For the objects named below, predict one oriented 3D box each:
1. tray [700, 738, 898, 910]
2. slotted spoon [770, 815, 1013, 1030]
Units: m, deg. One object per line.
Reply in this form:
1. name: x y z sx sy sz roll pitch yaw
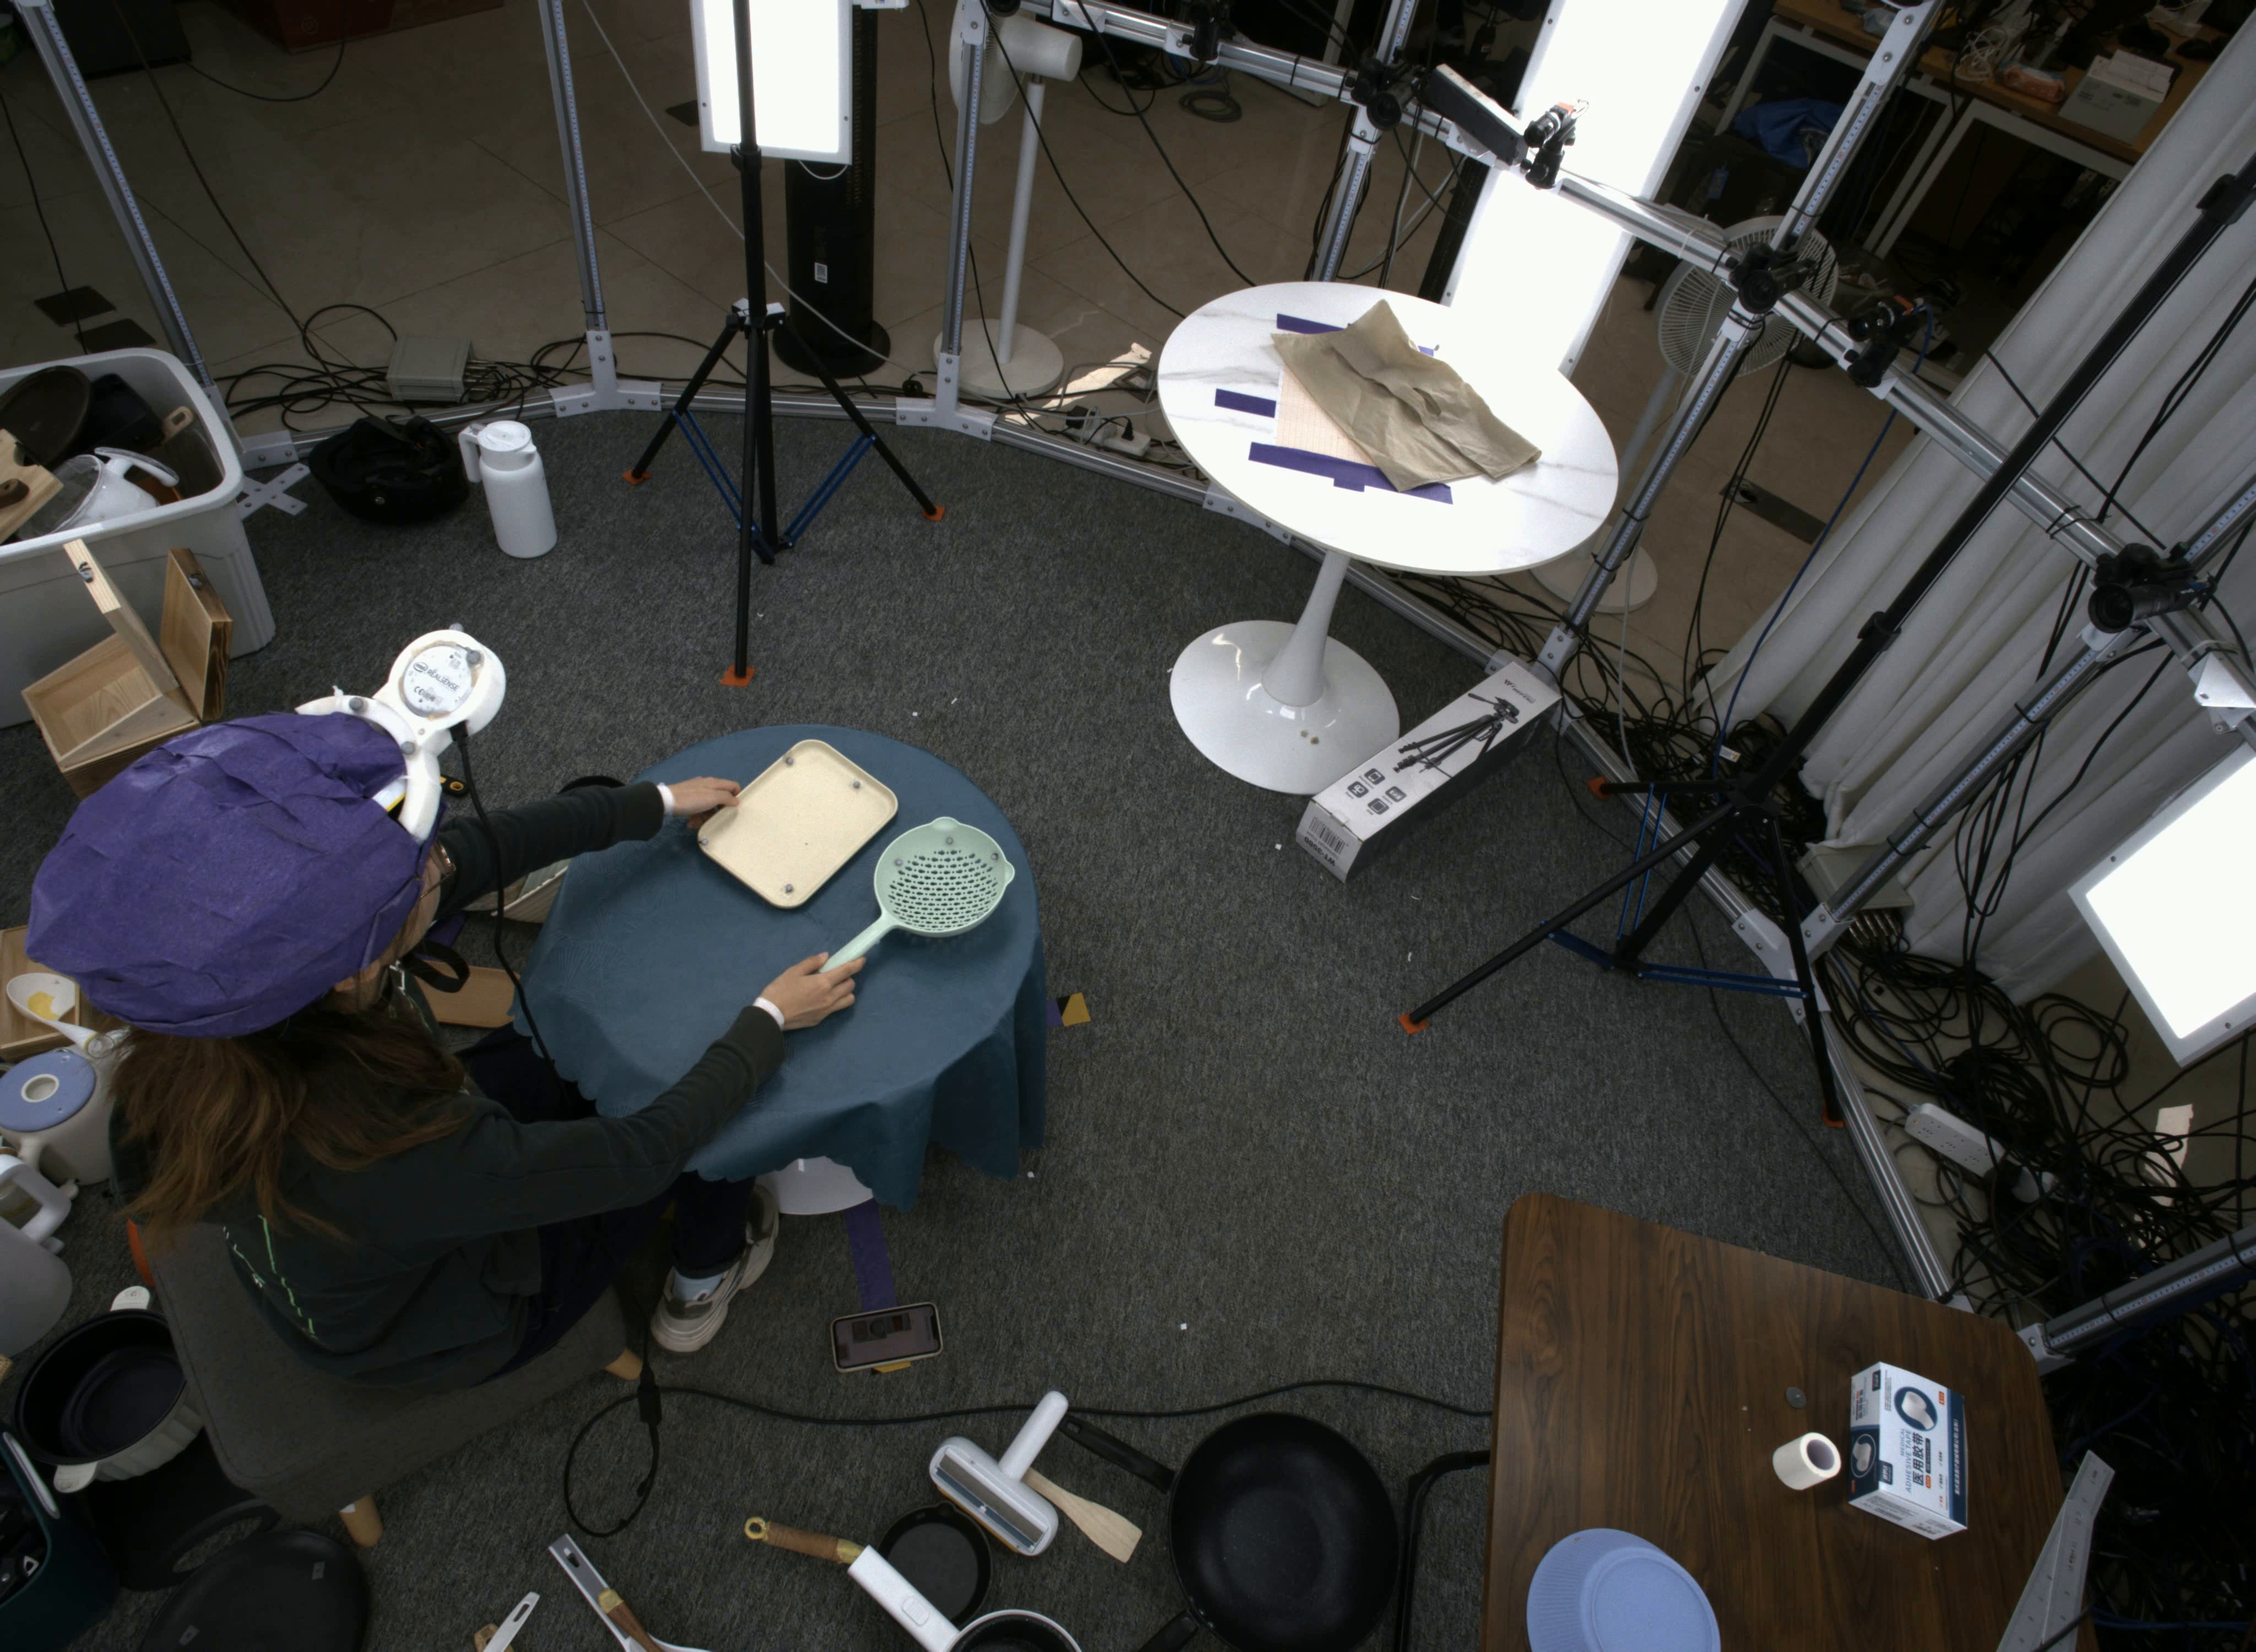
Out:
1. tray: -0.431 -0.006 1.711 0.170 0.018 0.239 36 54 4
2. slotted spoon: -0.304 0.125 1.623 0.164 0.077 0.359 37 52 22
